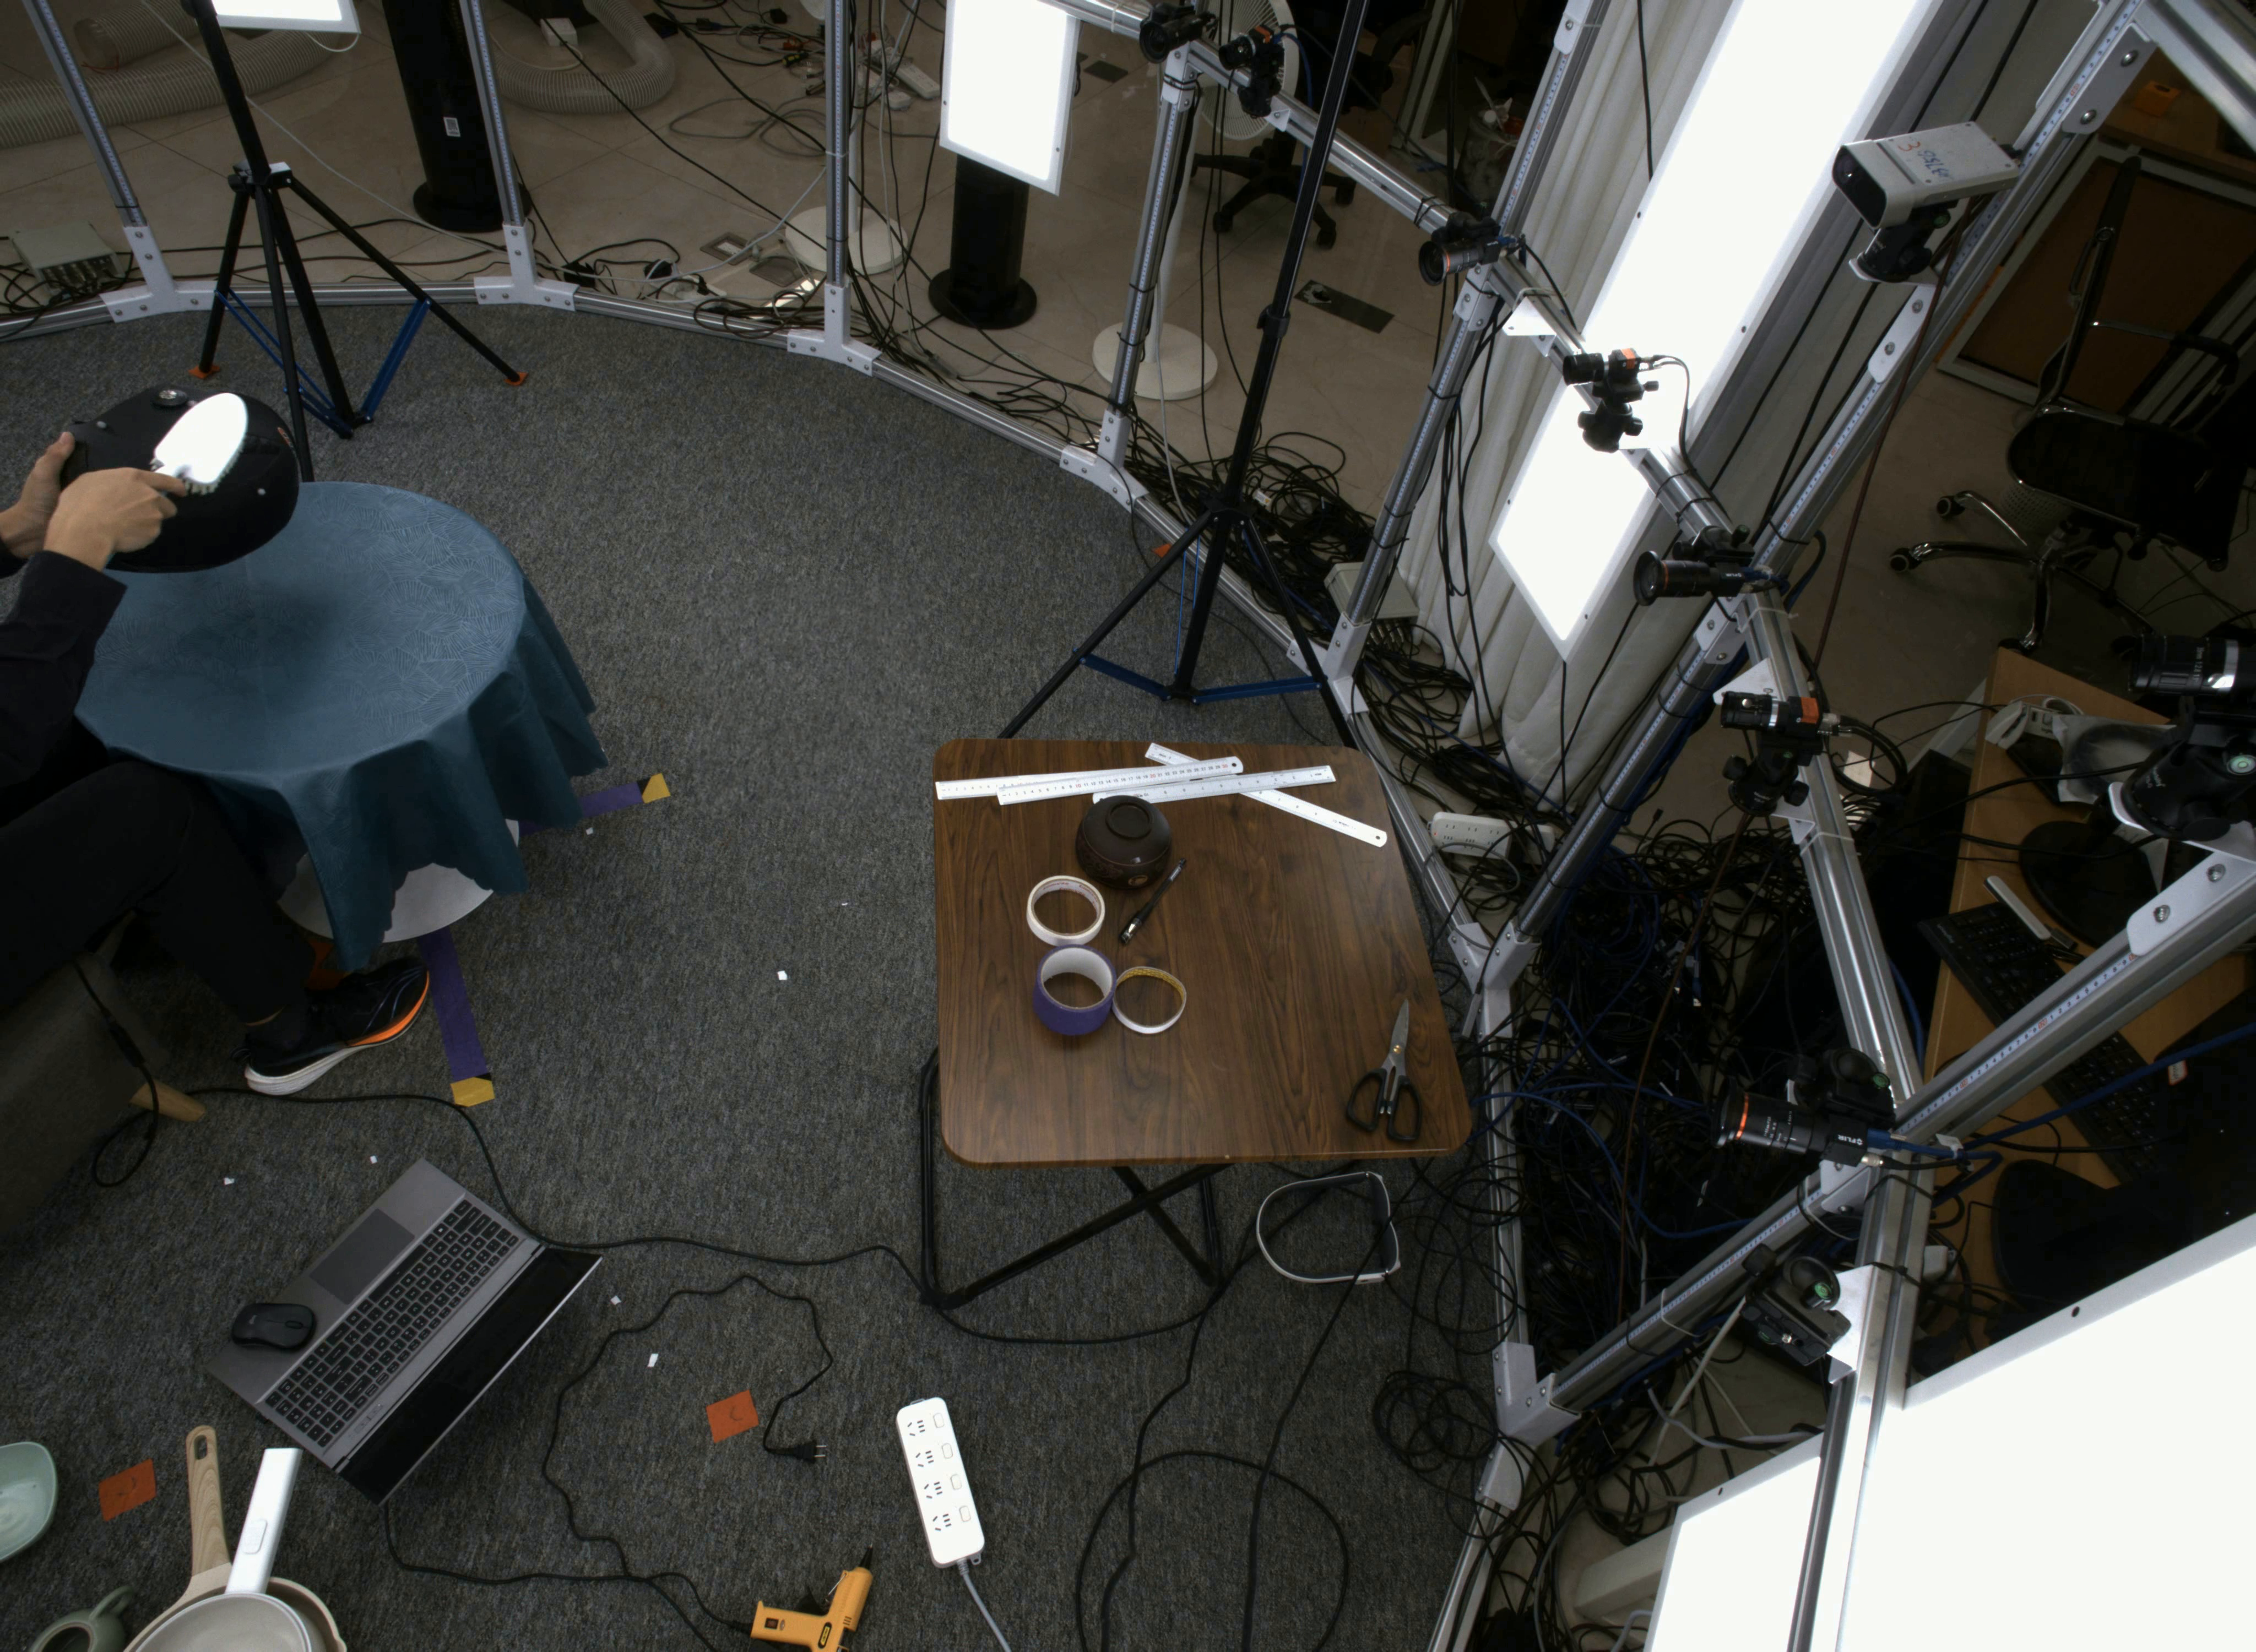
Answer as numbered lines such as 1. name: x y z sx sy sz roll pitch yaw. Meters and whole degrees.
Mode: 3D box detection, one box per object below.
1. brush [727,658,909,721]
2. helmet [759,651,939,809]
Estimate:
1. brush: -0.444 -0.182 1.839 0.080 0.087 0.328 12 21 34
2. helmet: -0.427 -0.135 1.994 0.277 0.253 0.168 -1 23 -13
